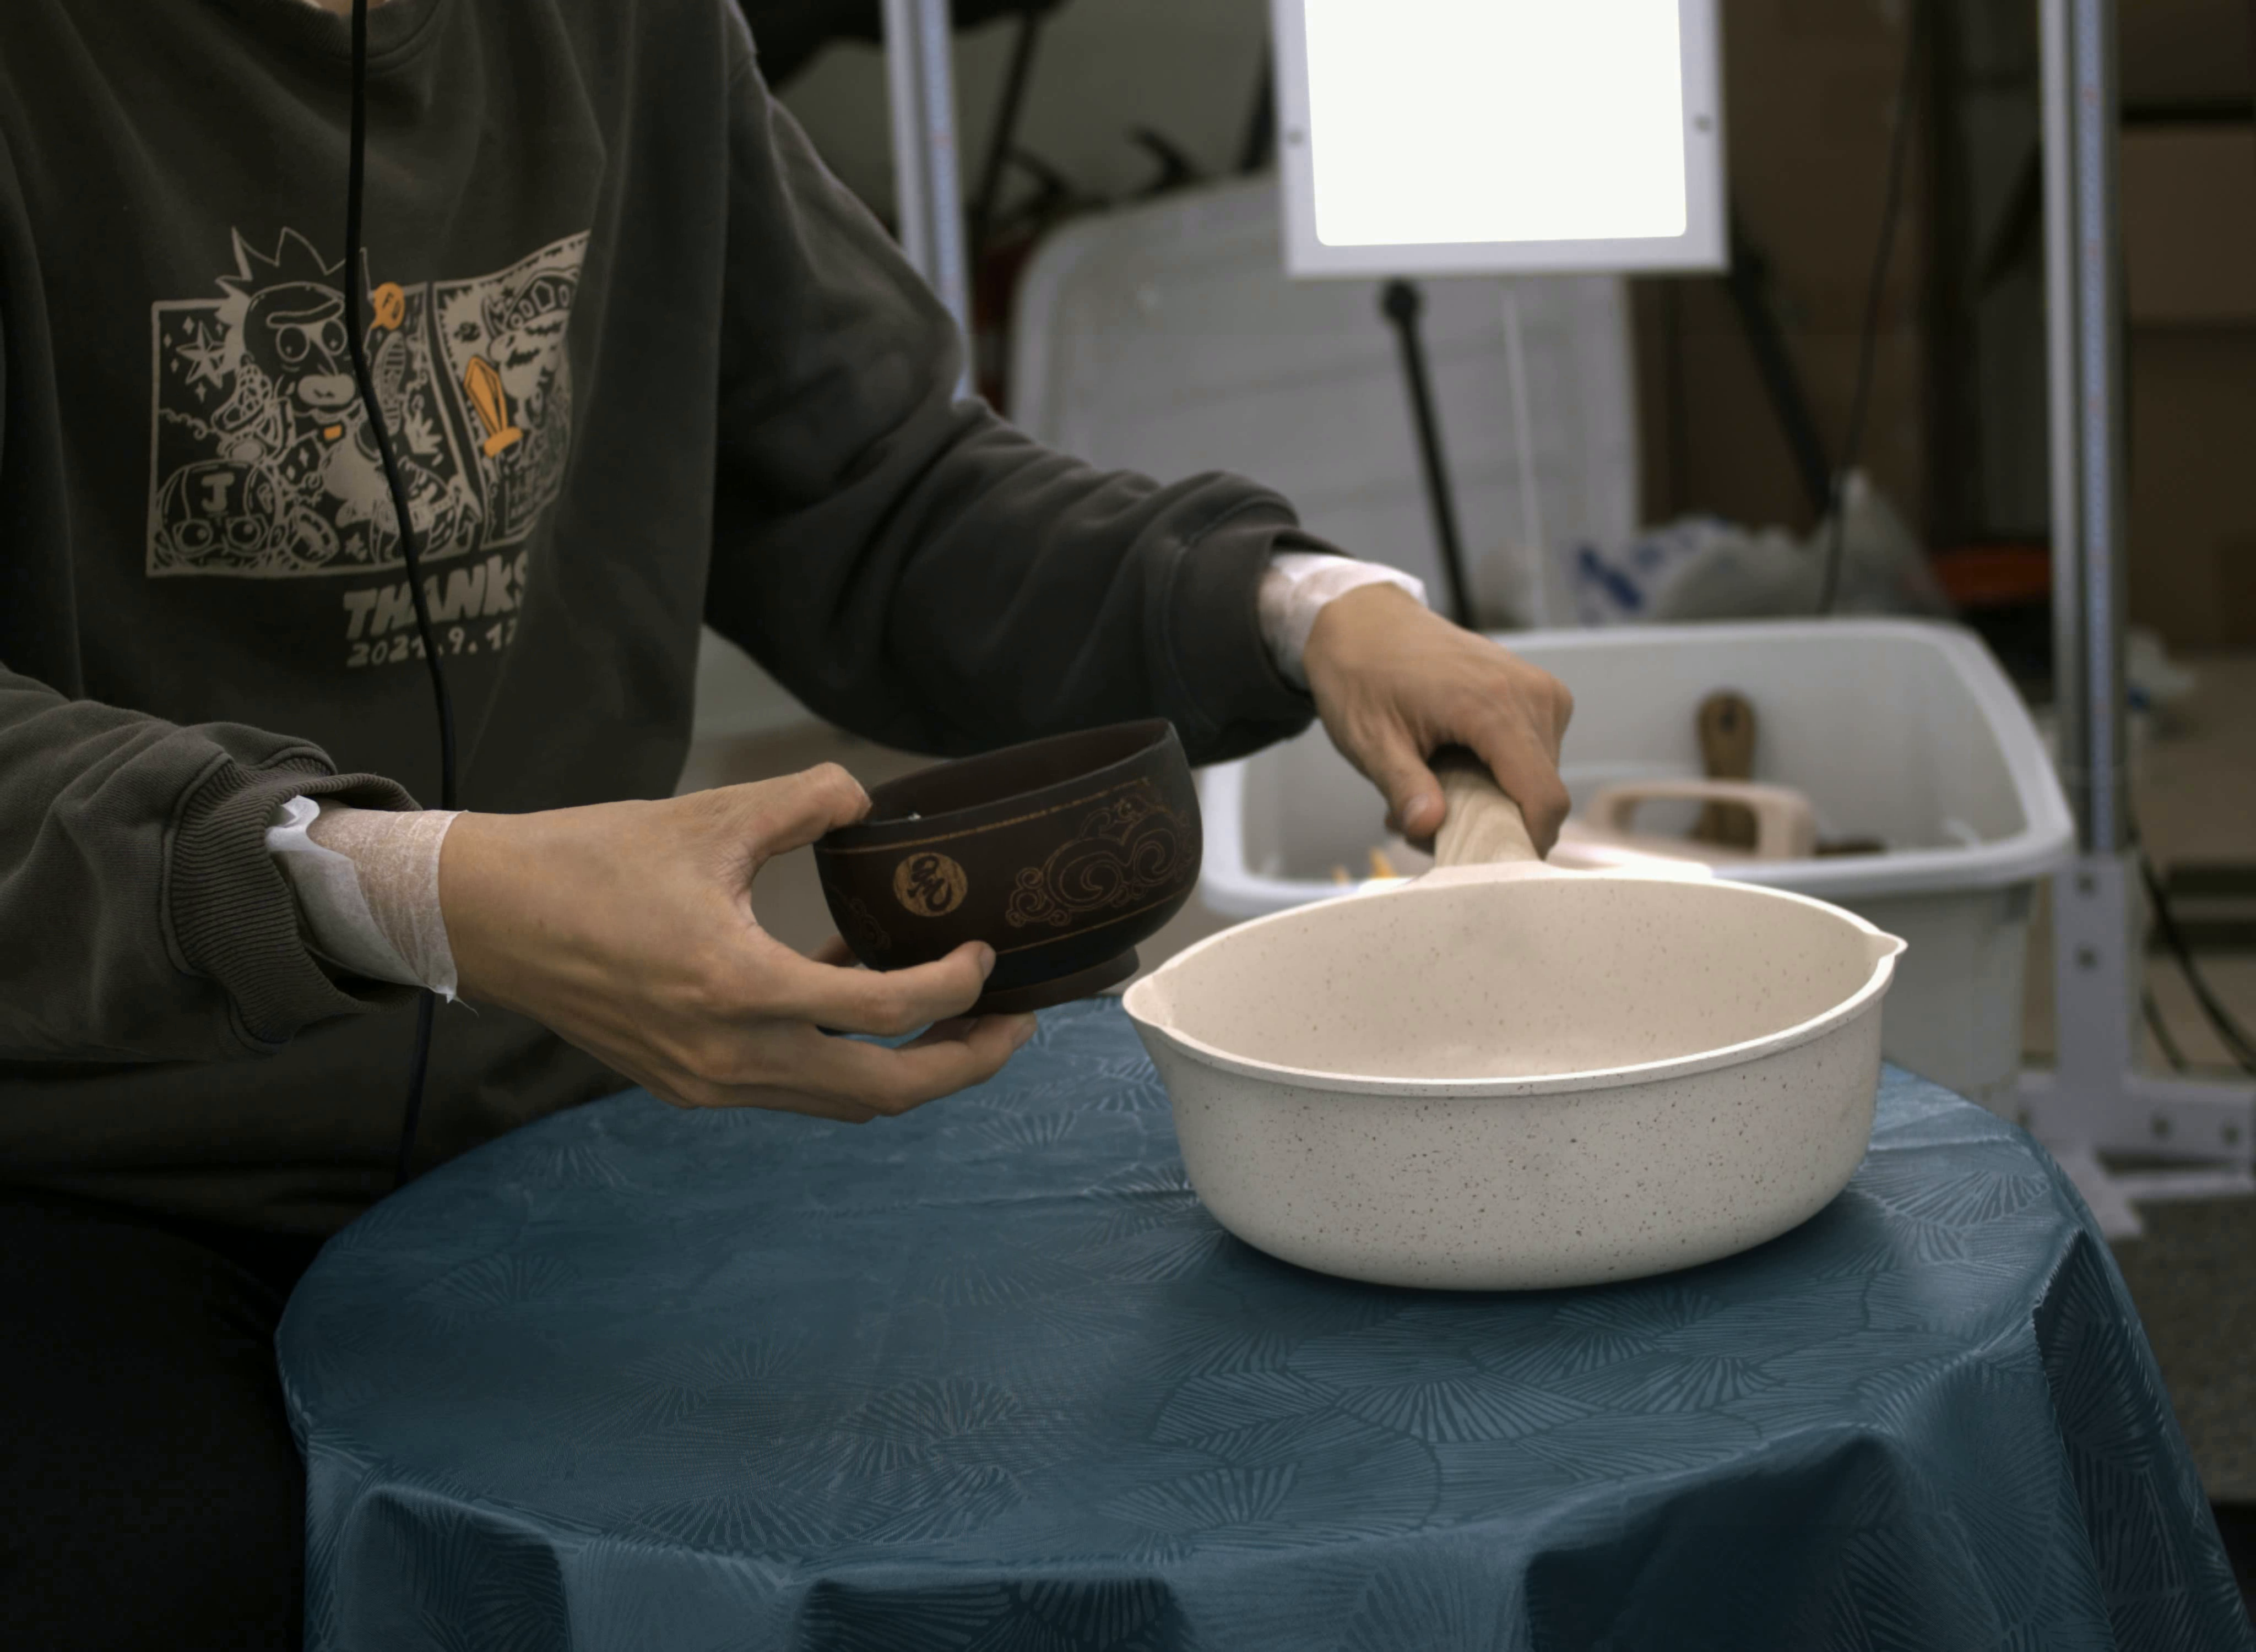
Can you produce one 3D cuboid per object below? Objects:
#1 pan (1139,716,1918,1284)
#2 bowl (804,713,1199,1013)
[{"bbox_3d":[0.136,0.056,1.925,0.263,0.102,0.434,-7,14,2],"label":"pan"},{"bbox_3d":[-0.034,0.015,1.662,0.118,0.070,0.118,-16,9,1],"label":"bowl"}]
